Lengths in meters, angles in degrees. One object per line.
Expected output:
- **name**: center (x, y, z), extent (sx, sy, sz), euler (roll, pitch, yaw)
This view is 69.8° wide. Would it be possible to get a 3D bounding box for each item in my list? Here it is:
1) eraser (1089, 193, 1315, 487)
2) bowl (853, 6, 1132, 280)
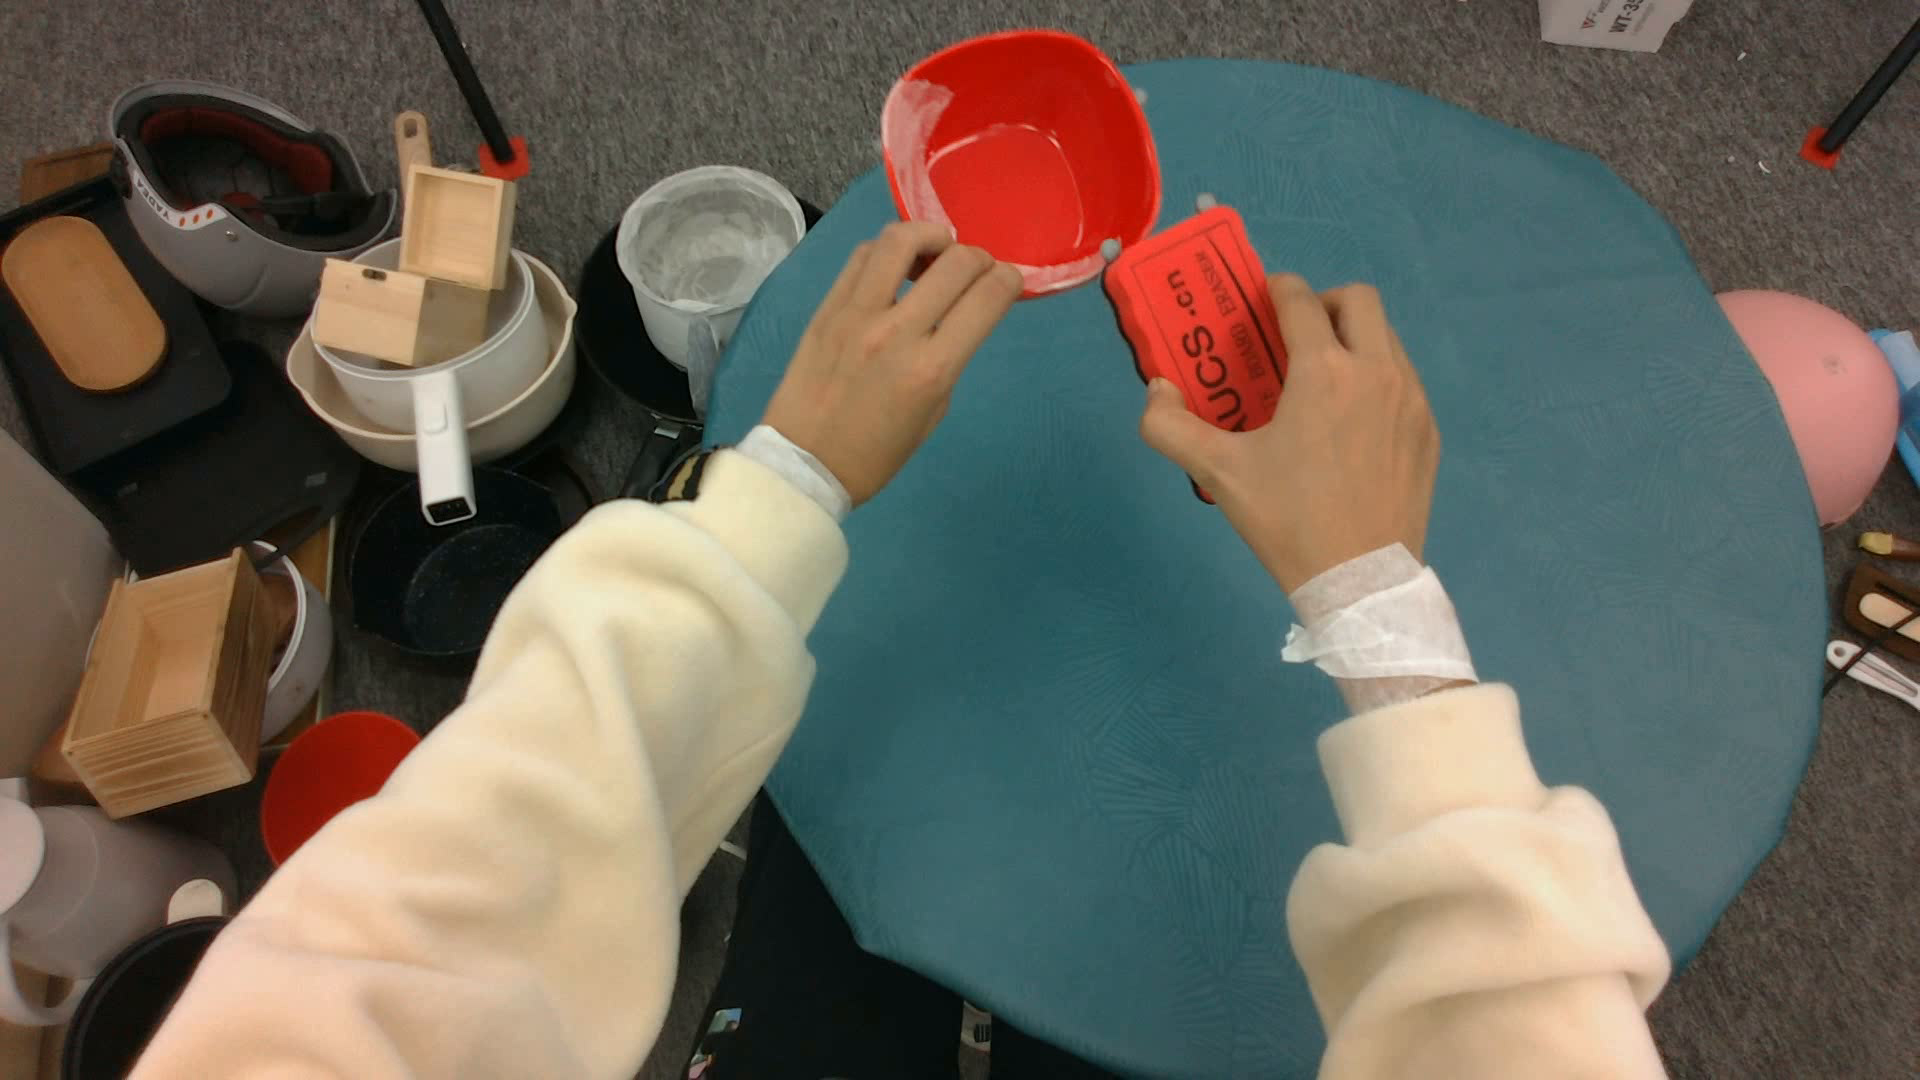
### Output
- **eraser**: center (0.097, -0.079, 0.550), extent (0.059, 0.023, 0.108), euler (-26, 97, -18)
- **bowl**: center (0.010, -0.159, 0.577), extent (0.119, 0.051, 0.119), euler (2, 82, -12)
